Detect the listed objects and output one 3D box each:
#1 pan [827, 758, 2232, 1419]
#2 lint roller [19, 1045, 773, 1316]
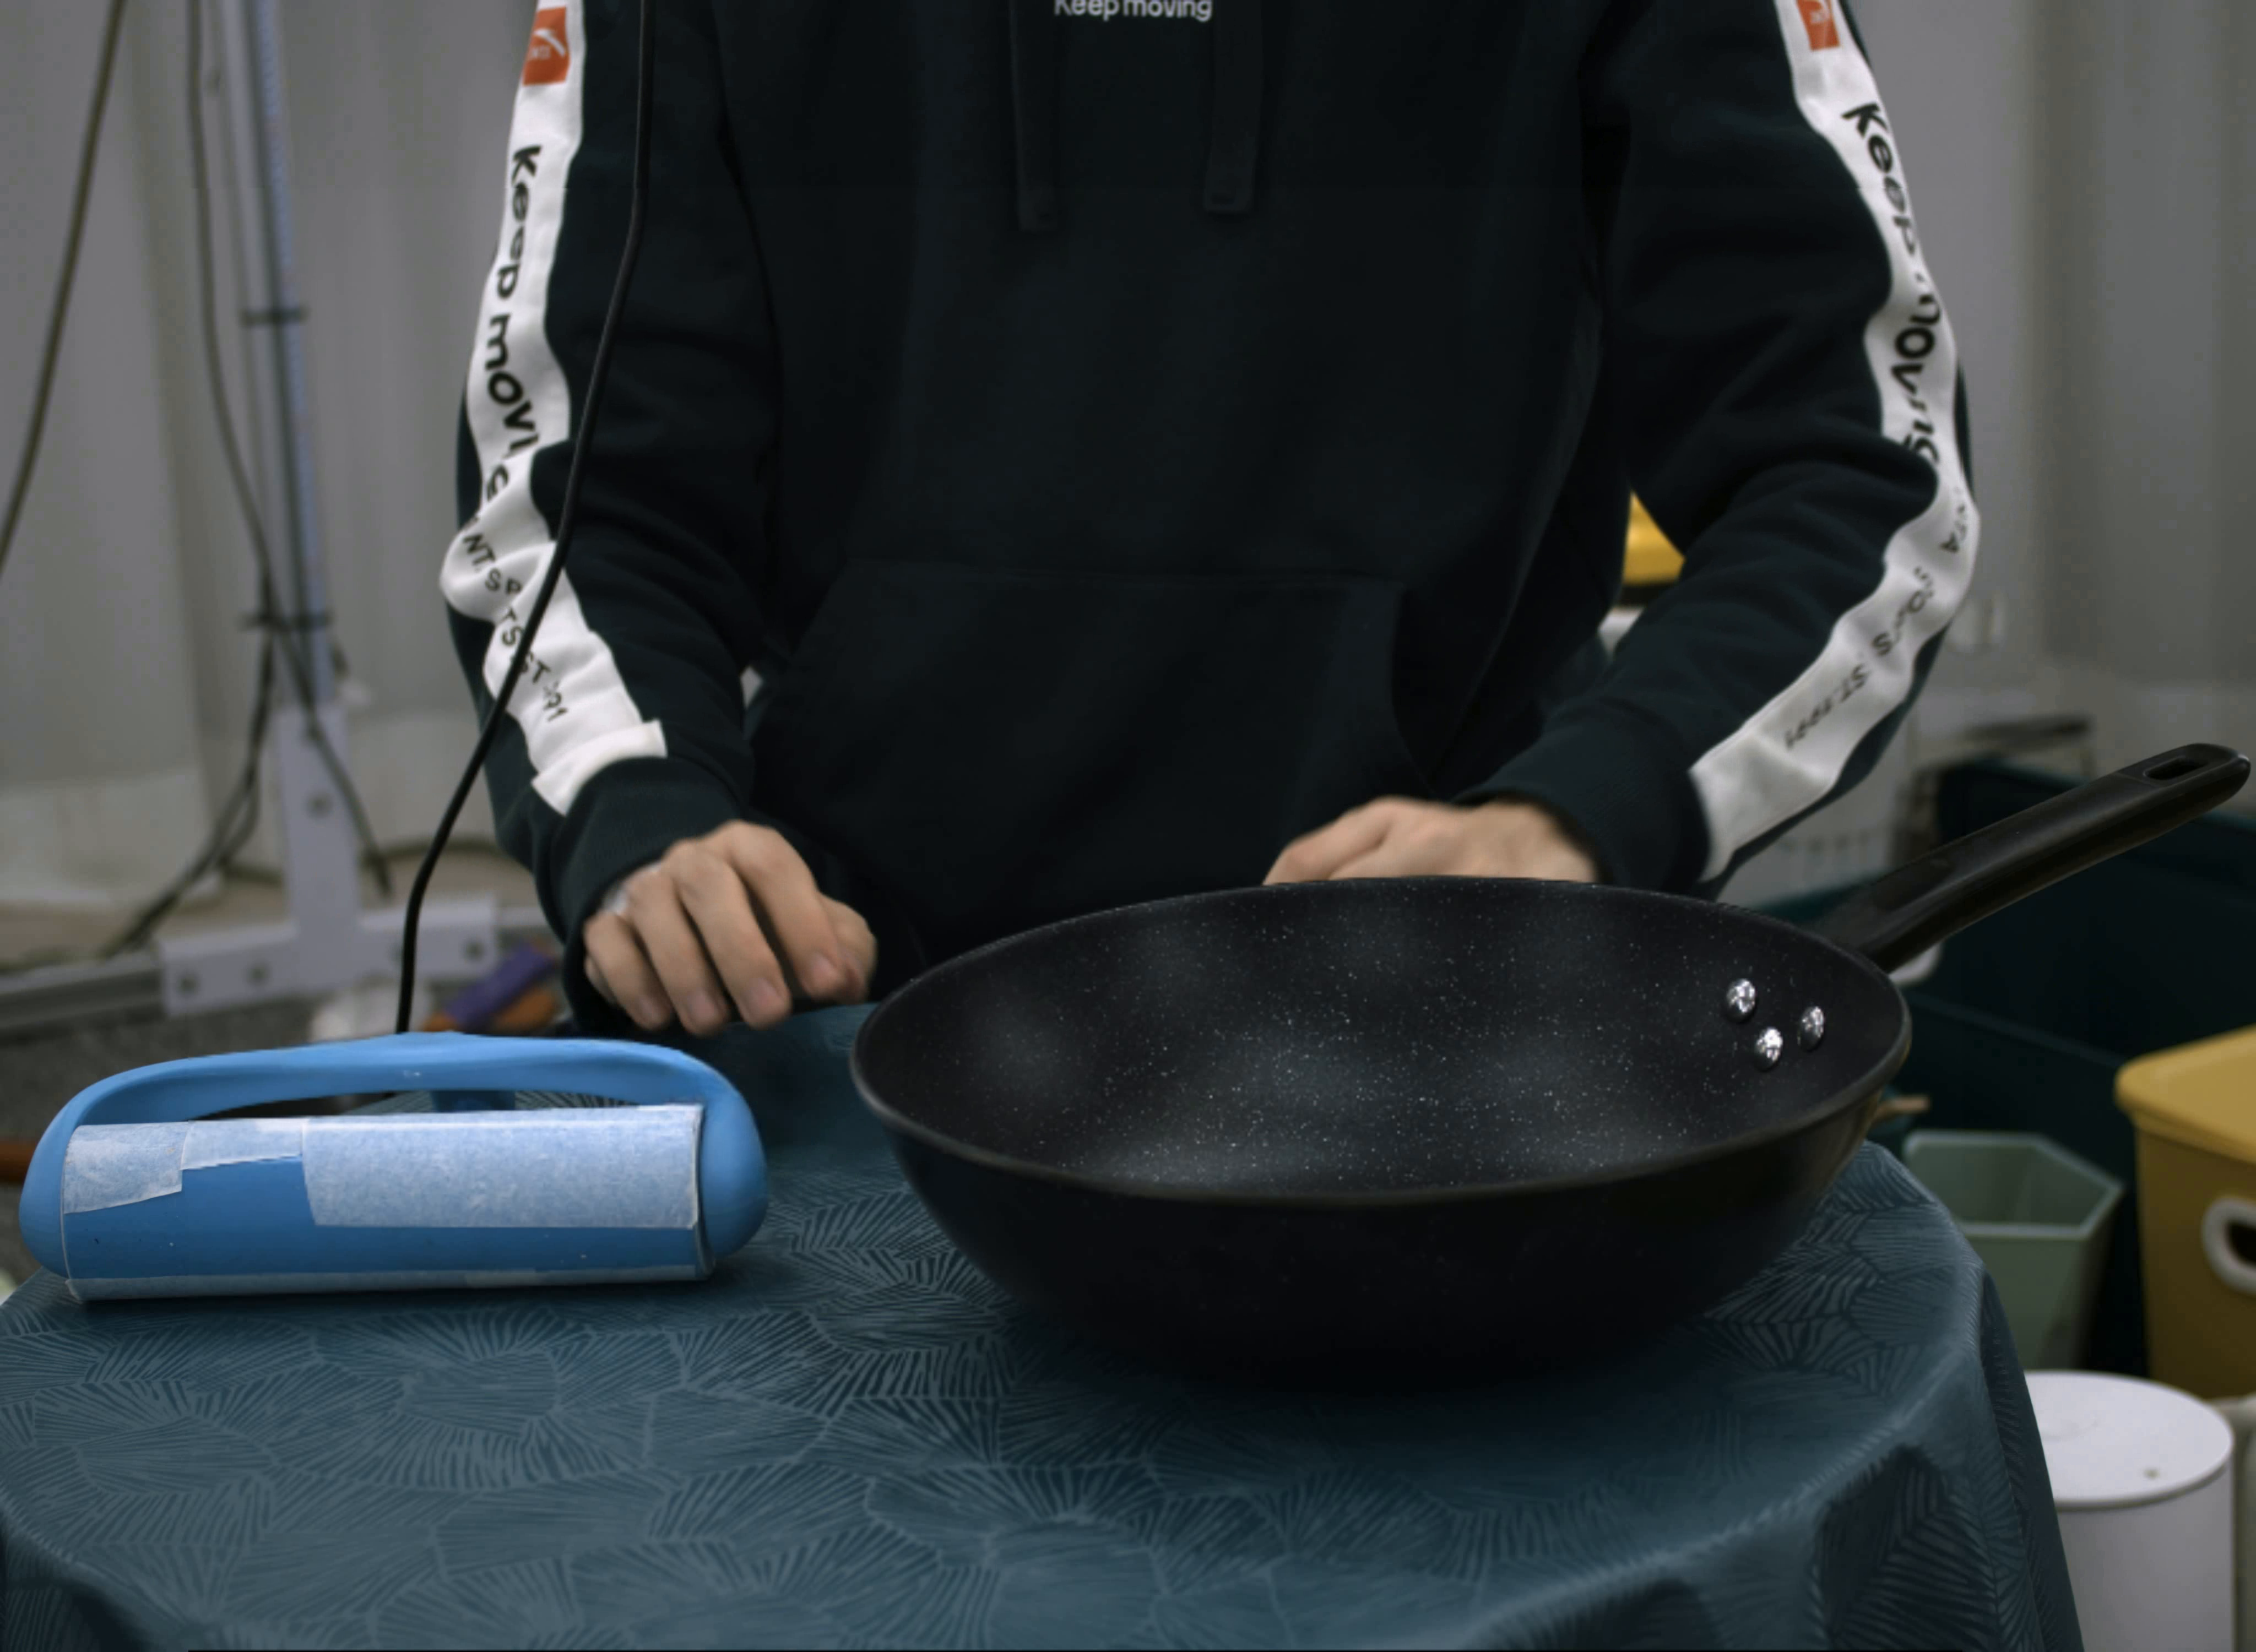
[{"bbox_3d":[0.140,0.075,1.631,0.475,0.111,0.313,-12,19,-28],"label":"pan"},{"bbox_3d":[-0.222,0.099,1.711,0.228,0.067,0.181,-5,16,0],"label":"lint roller"}]
